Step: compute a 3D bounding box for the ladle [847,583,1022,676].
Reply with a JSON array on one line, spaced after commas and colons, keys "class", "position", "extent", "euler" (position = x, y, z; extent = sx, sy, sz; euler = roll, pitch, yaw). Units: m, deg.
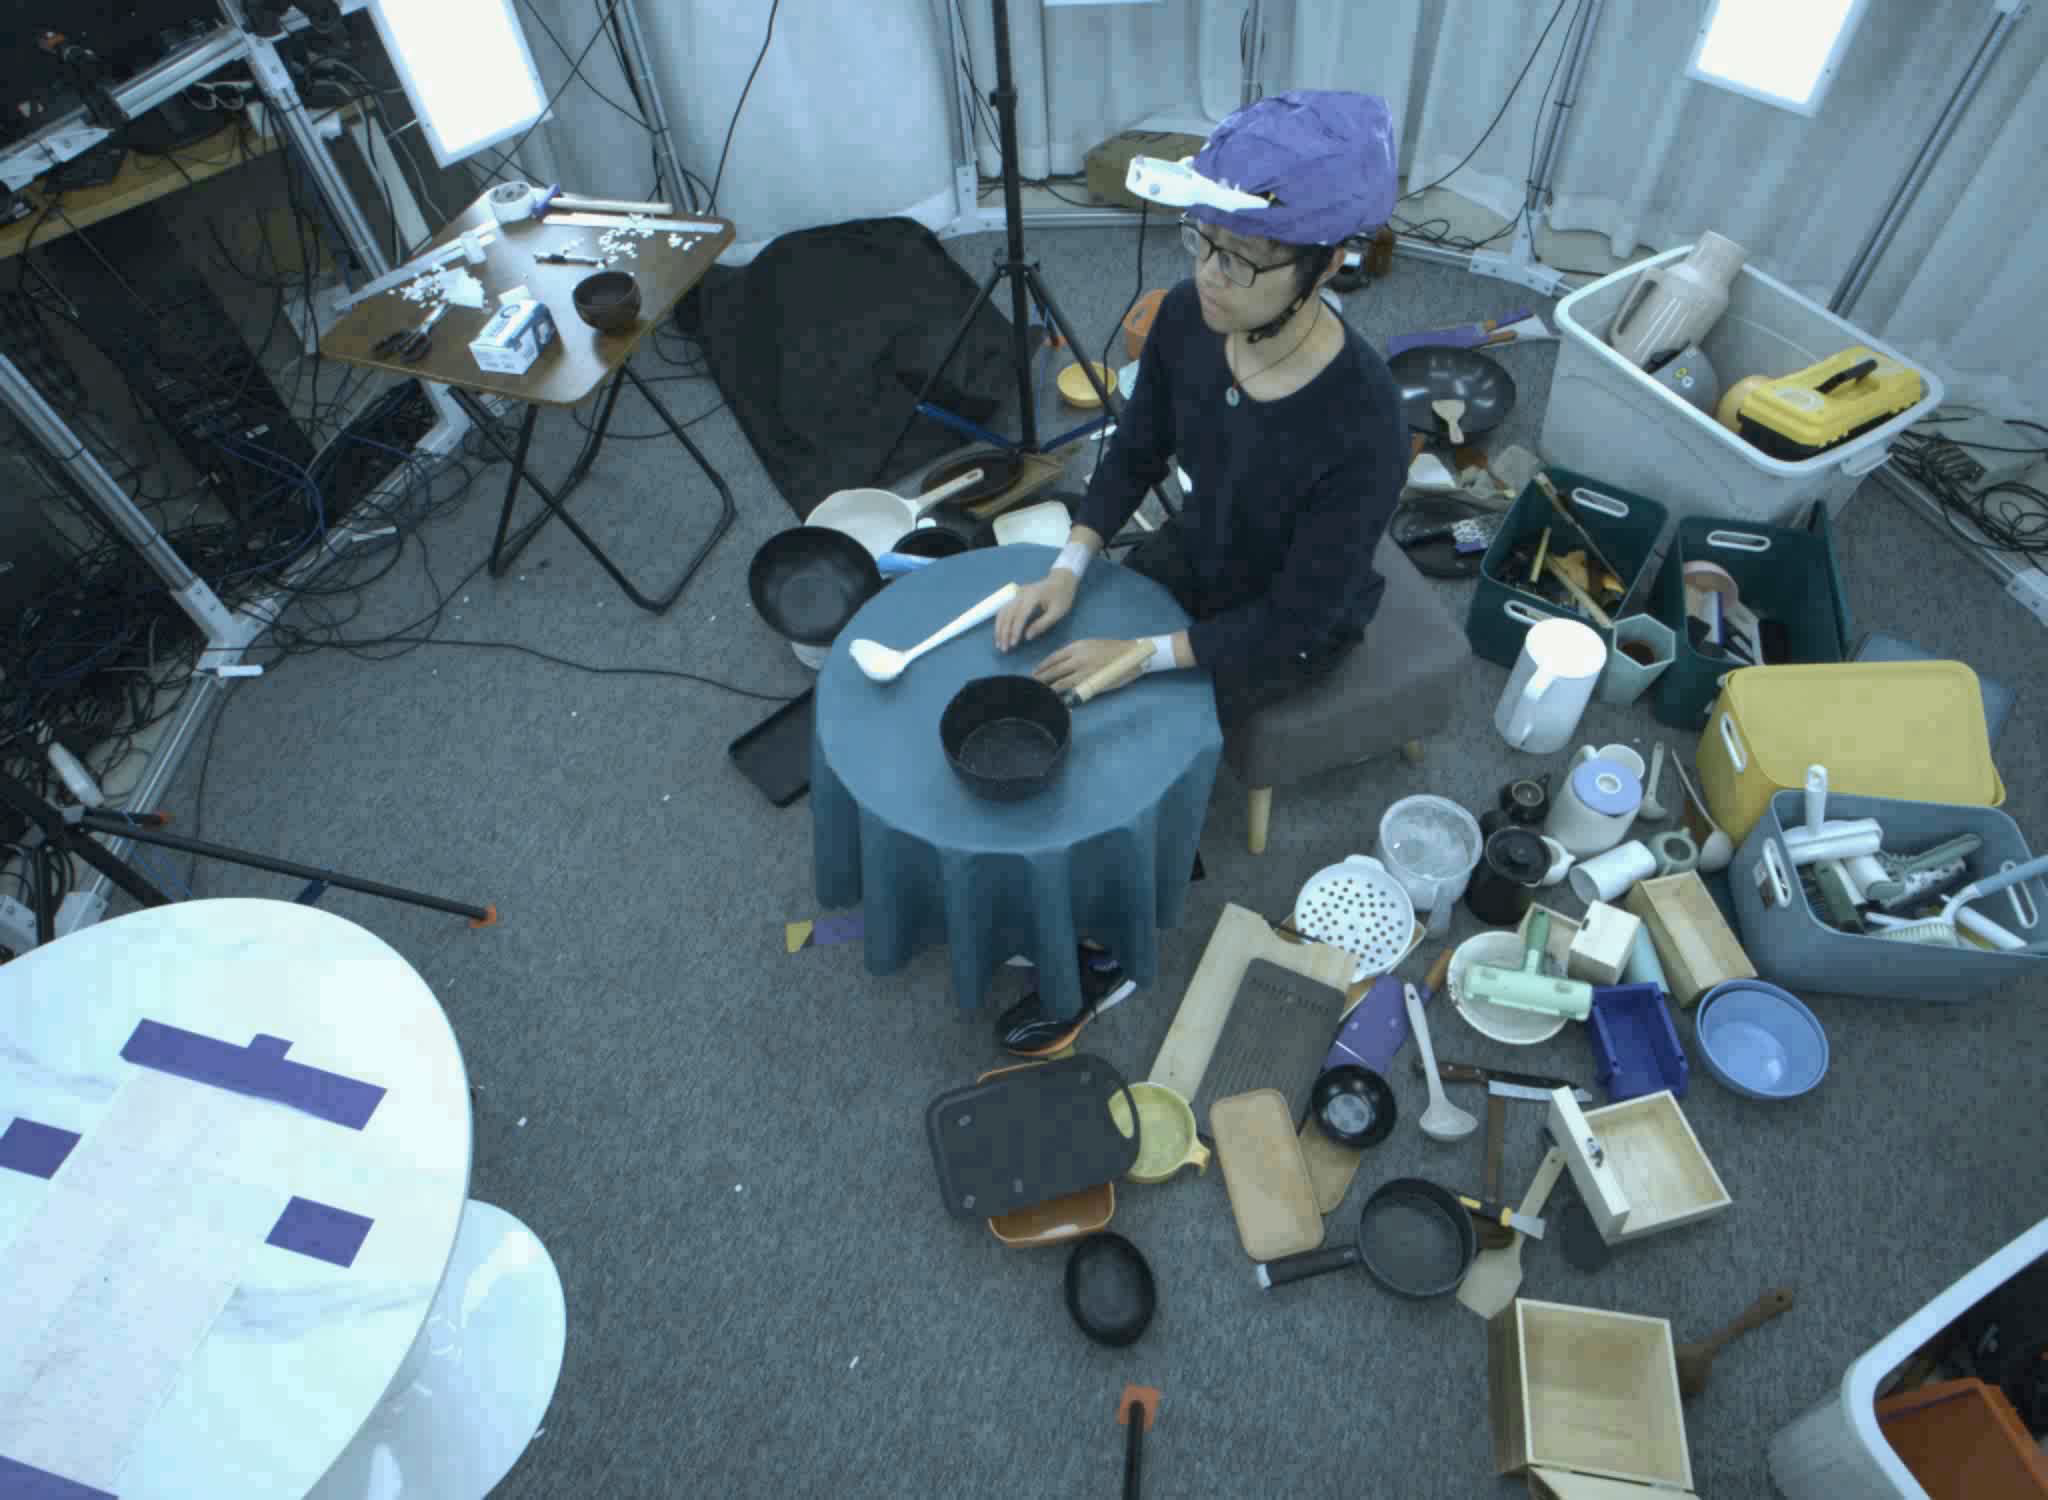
[{"class": "ladle", "position": [-0.134, -0.195, 1.890], "extent": [0.295, 0.071, 0.088], "euler": [-30, 51, -18]}]

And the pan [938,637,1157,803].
[{"class": "pan", "position": [0.042, -0.053, 1.757], "extent": [0.345, 0.109, 0.203], "euler": [-29, 57, -15]}]
